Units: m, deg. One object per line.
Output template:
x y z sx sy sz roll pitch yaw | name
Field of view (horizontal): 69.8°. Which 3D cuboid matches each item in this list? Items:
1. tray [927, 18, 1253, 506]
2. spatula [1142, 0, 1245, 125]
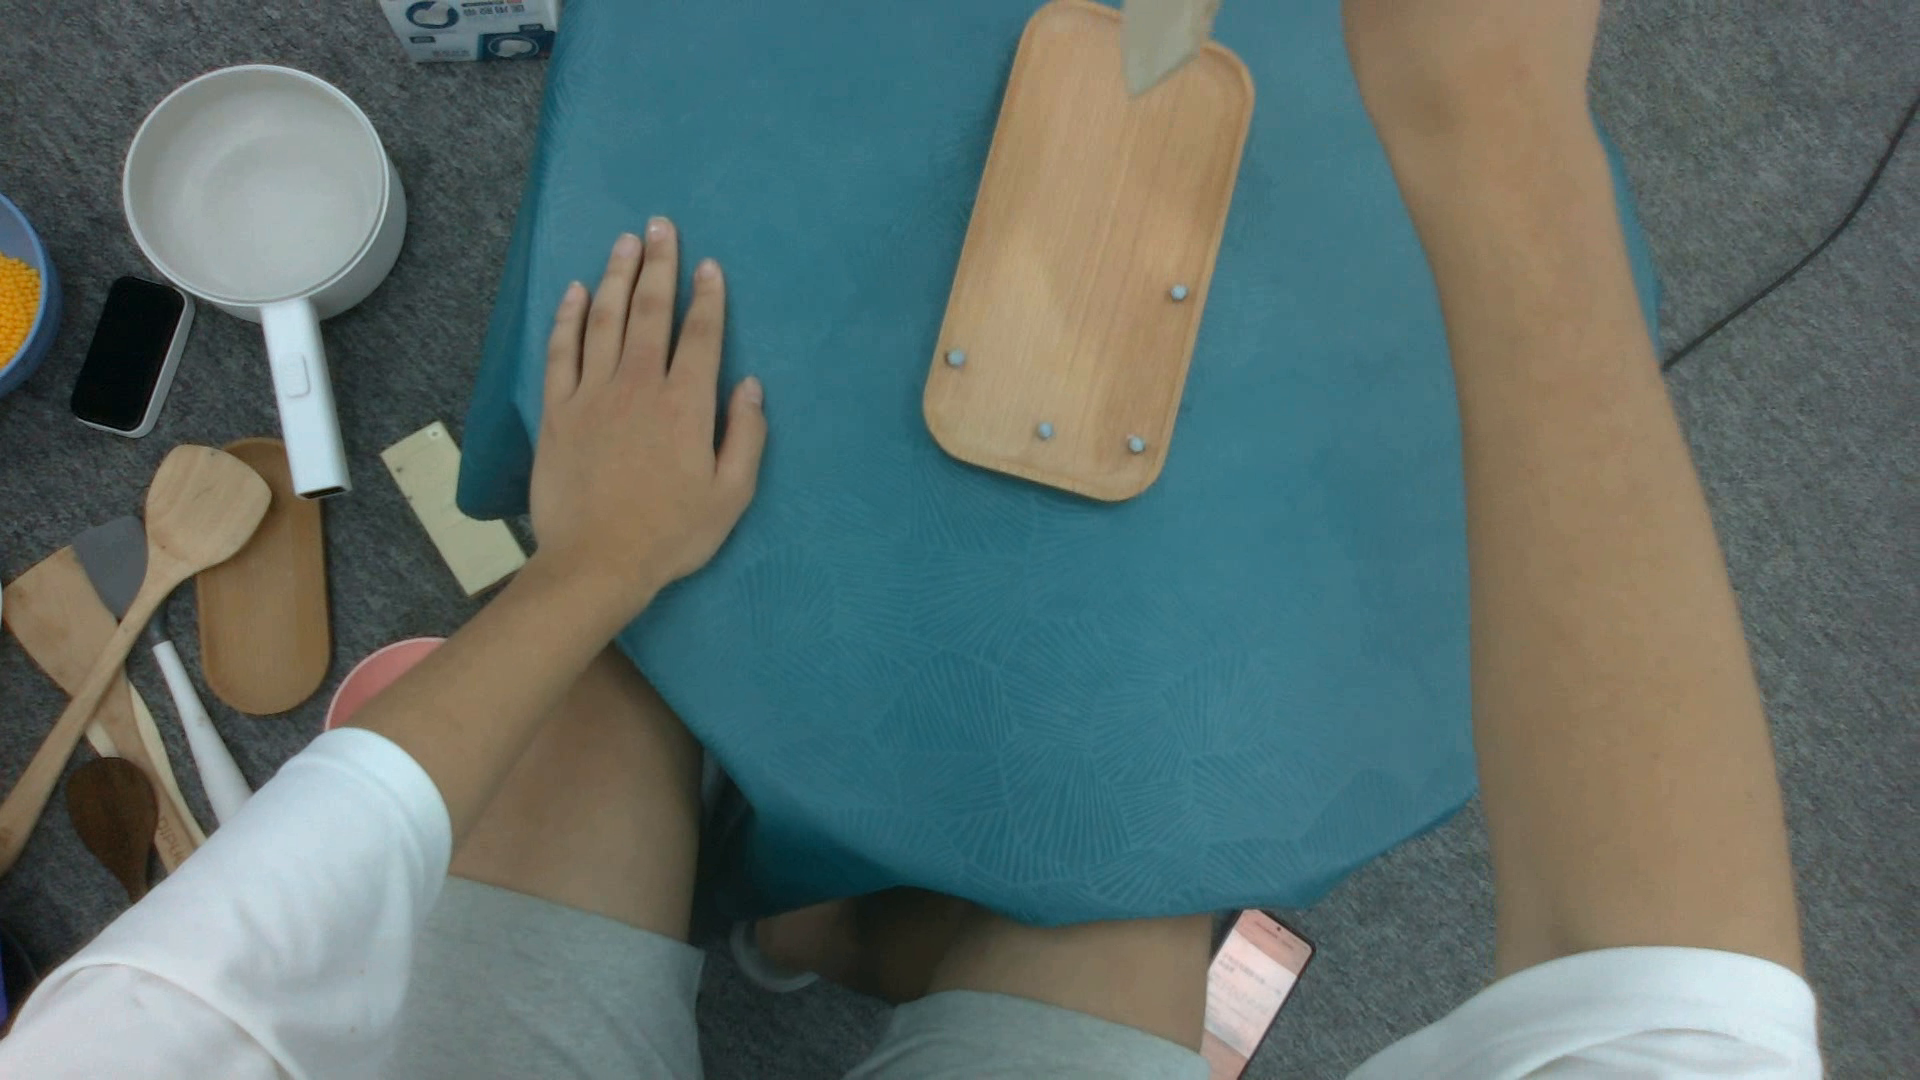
0.069 -0.147 0.722 0.130 0.023 0.251 17 80 -7 | tray
0.113 -0.223 0.511 0.010 0.293 0.072 2 93 -9 | spatula
